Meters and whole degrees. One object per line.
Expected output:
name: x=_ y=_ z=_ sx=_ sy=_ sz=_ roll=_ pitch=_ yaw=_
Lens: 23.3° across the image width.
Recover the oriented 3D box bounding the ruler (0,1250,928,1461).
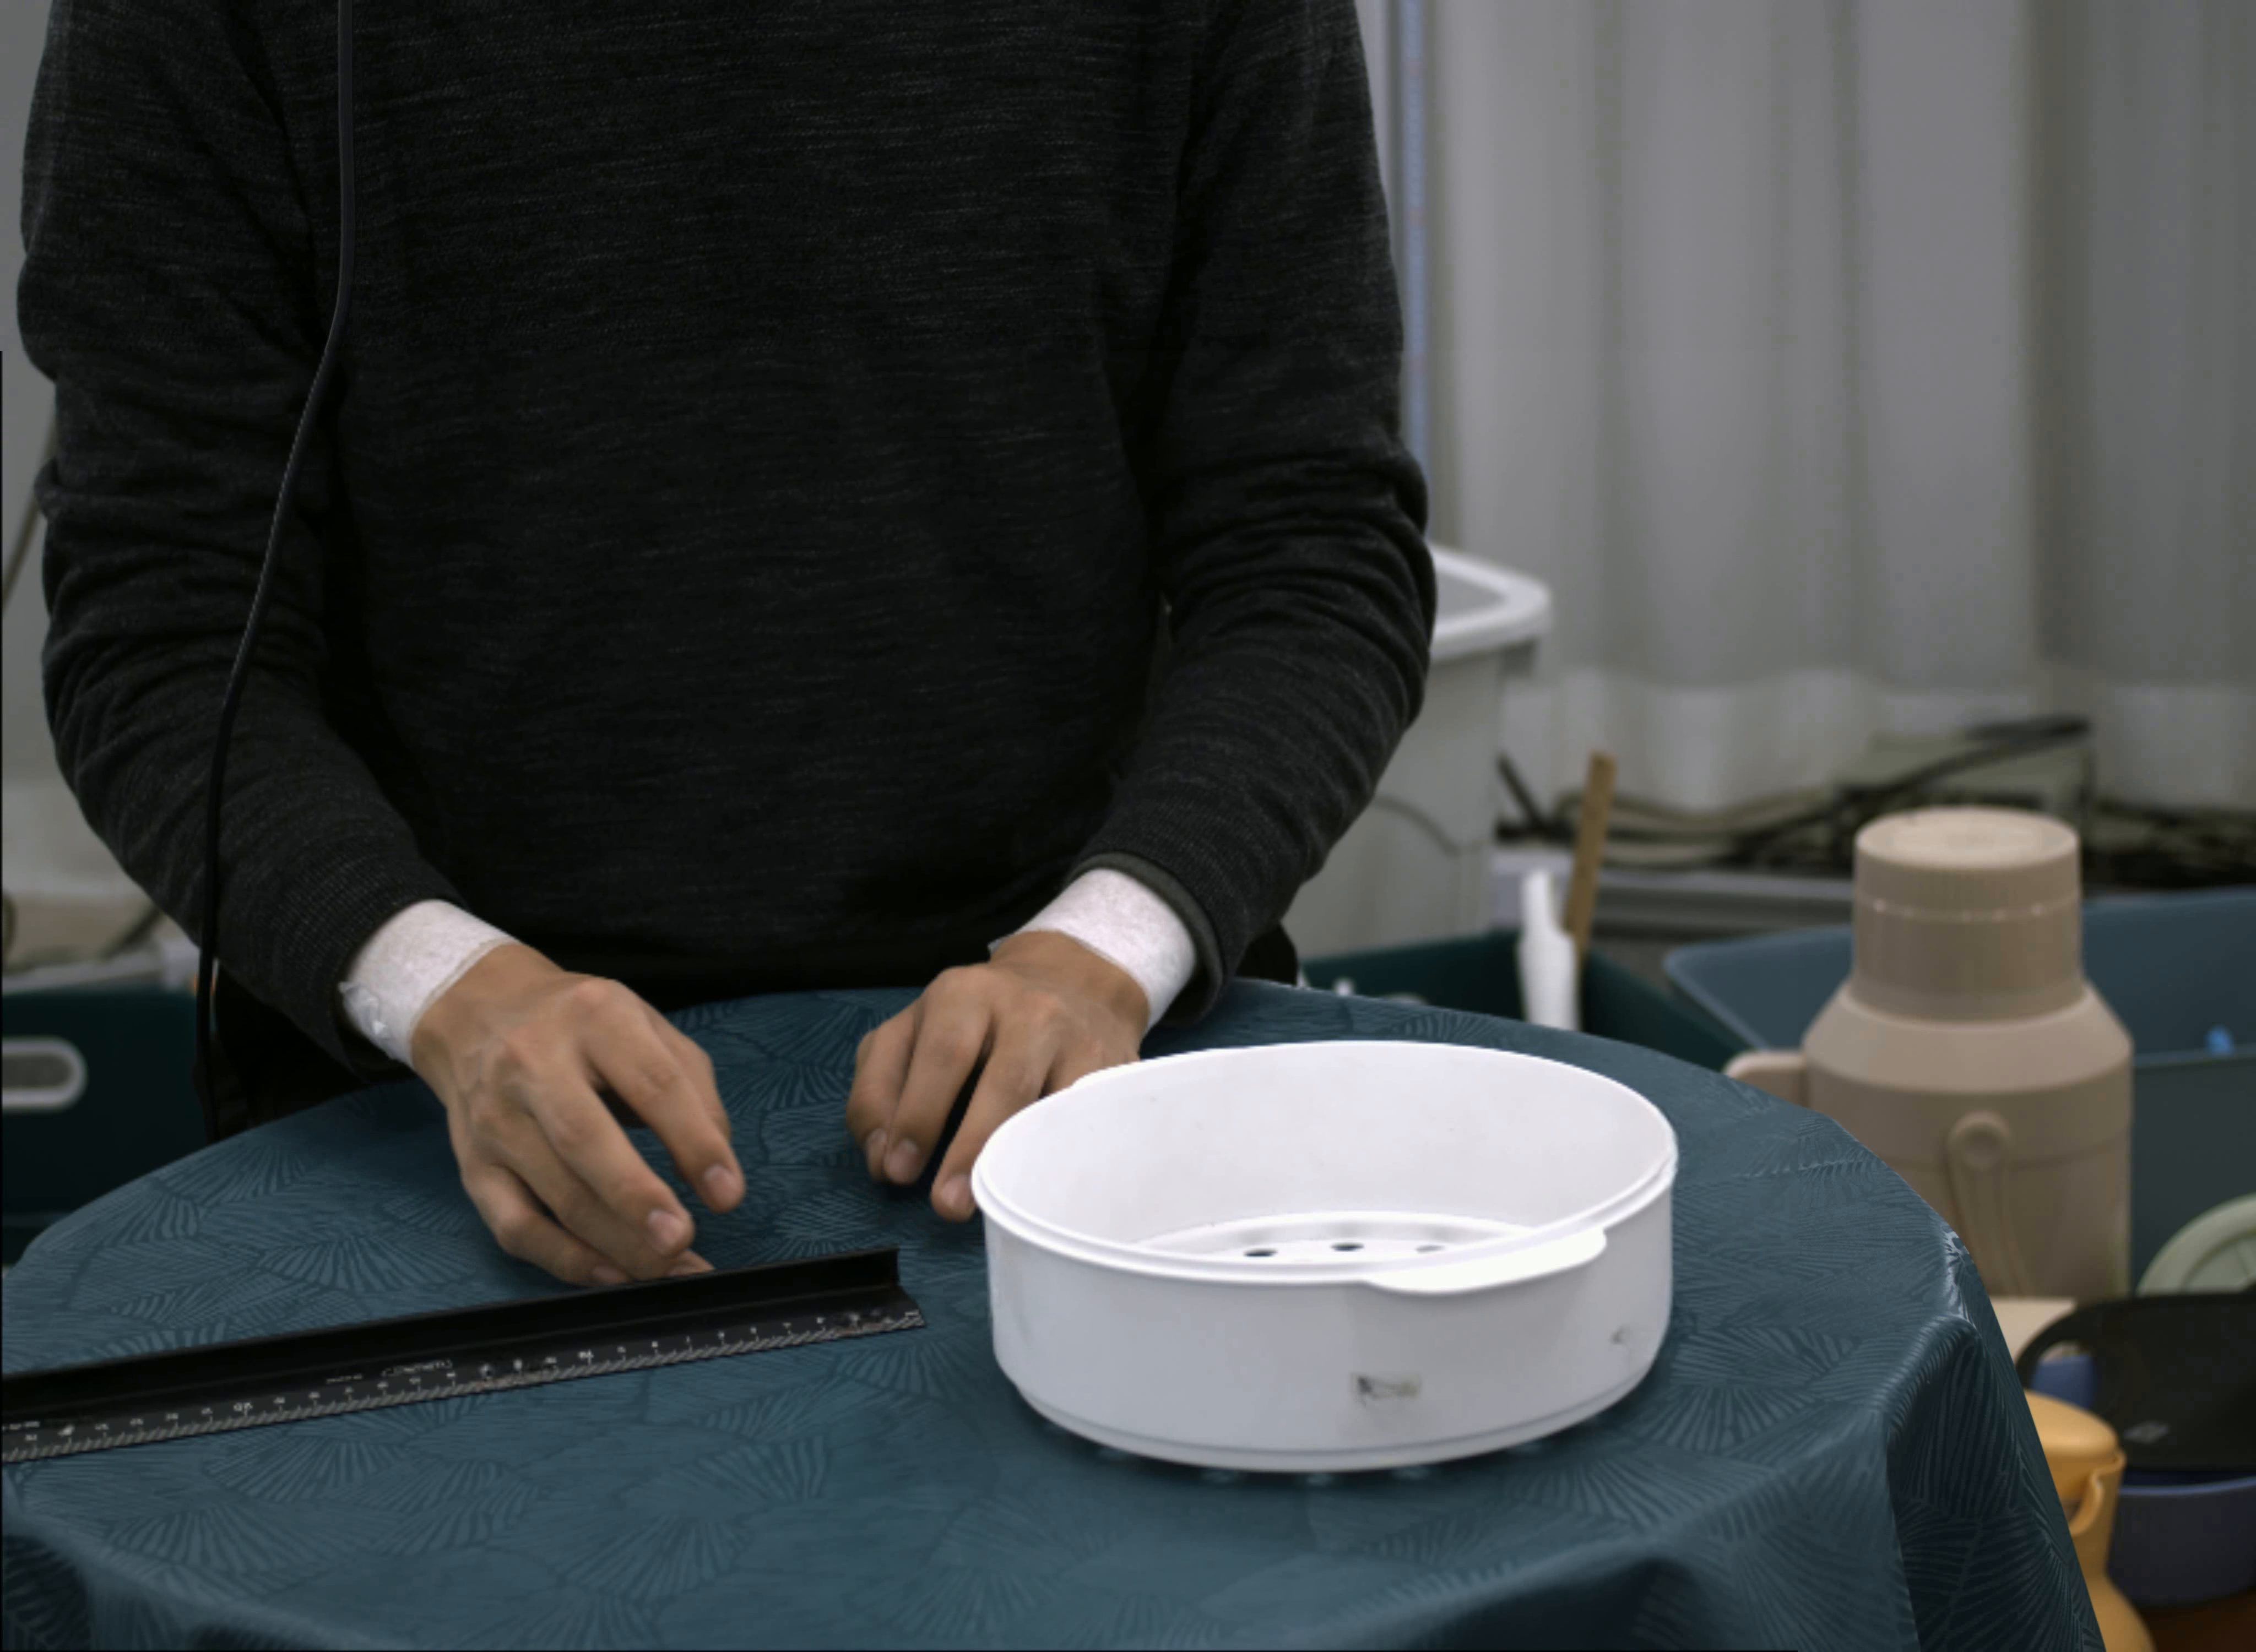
ruler: x=-0.212 y=0.154 z=1.576 sx=0.311 sy=0.017 sz=0.039 roll=-7 pitch=19 yaw=-15

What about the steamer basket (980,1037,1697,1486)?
steamer basket: x=0.060 y=0.122 z=1.541 sx=0.201 sy=0.069 sz=0.232 roll=-9 pitch=18 yaw=-24
